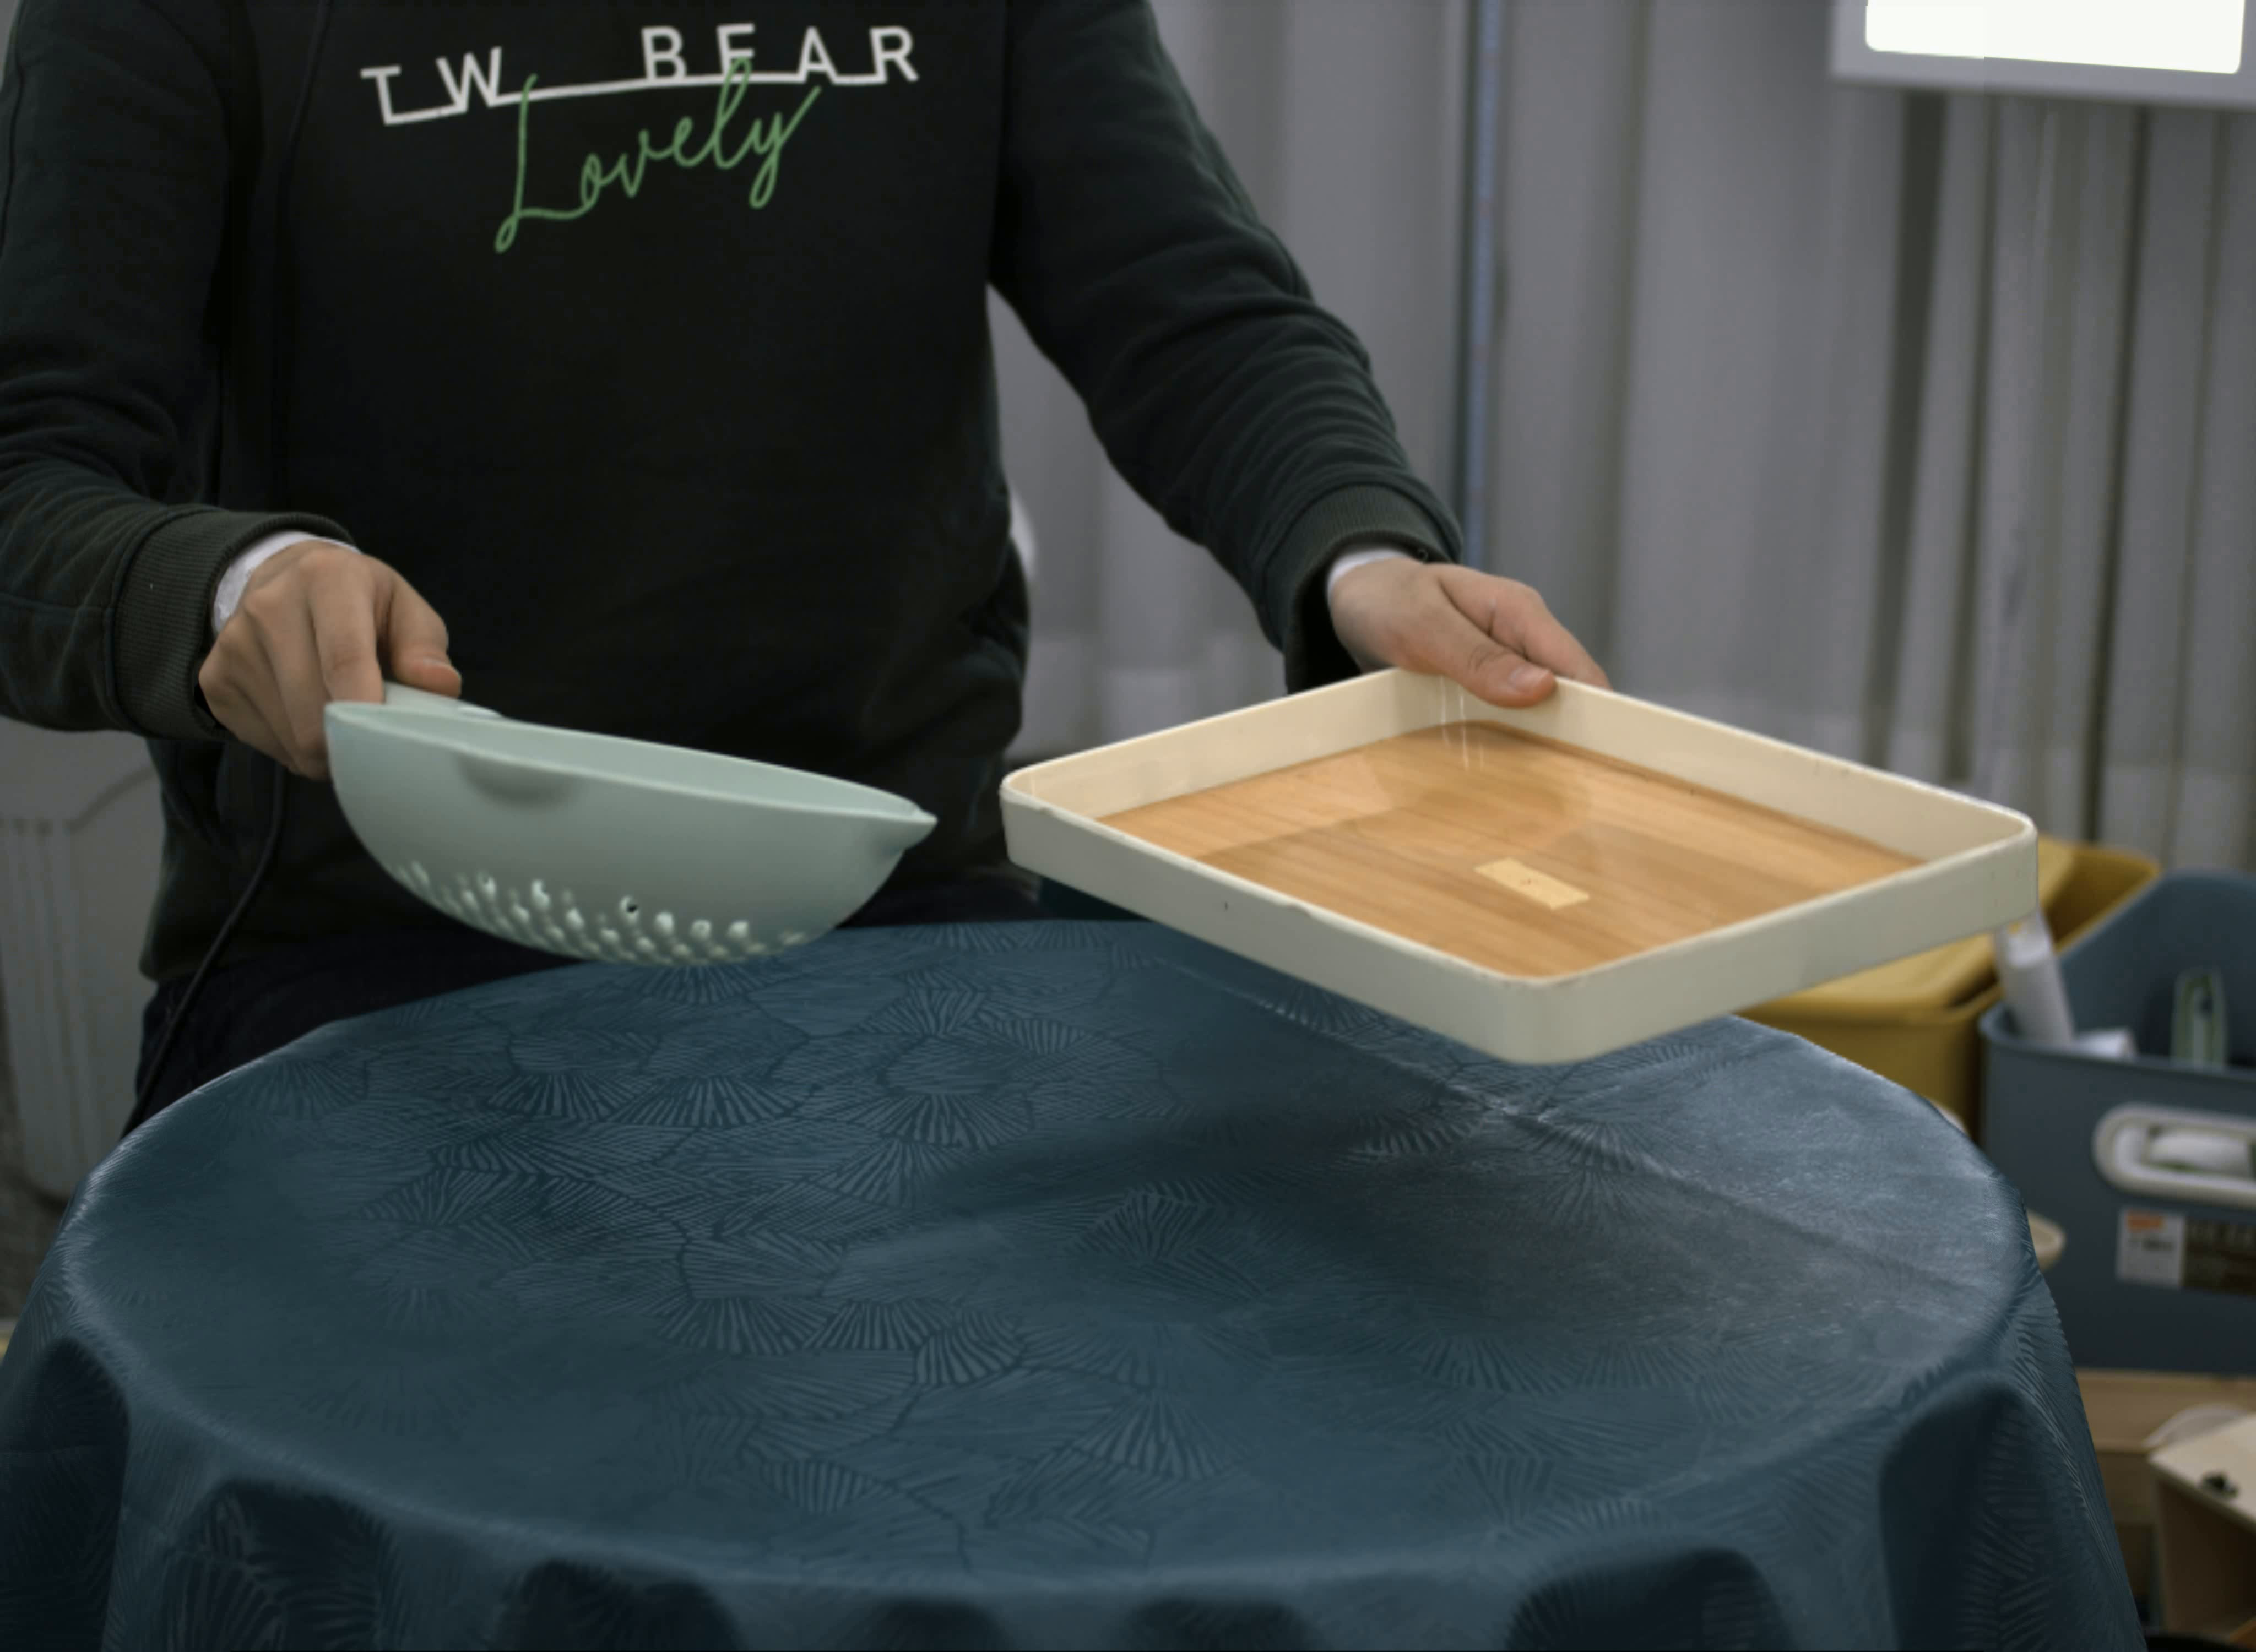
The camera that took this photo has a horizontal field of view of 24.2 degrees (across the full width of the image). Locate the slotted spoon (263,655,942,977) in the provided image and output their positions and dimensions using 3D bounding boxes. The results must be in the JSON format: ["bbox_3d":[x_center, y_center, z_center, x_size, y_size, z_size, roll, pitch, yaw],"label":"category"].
[{"bbox_3d":[-0.188,-0.019,1.549,0.170,0.076,0.354,9,12,-30],"label":"slotted spoon"}]

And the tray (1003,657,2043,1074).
[{"bbox_3d":[0.113,0.007,1.589,0.192,0.027,0.296,-15,20,-29],"label":"tray"}]
